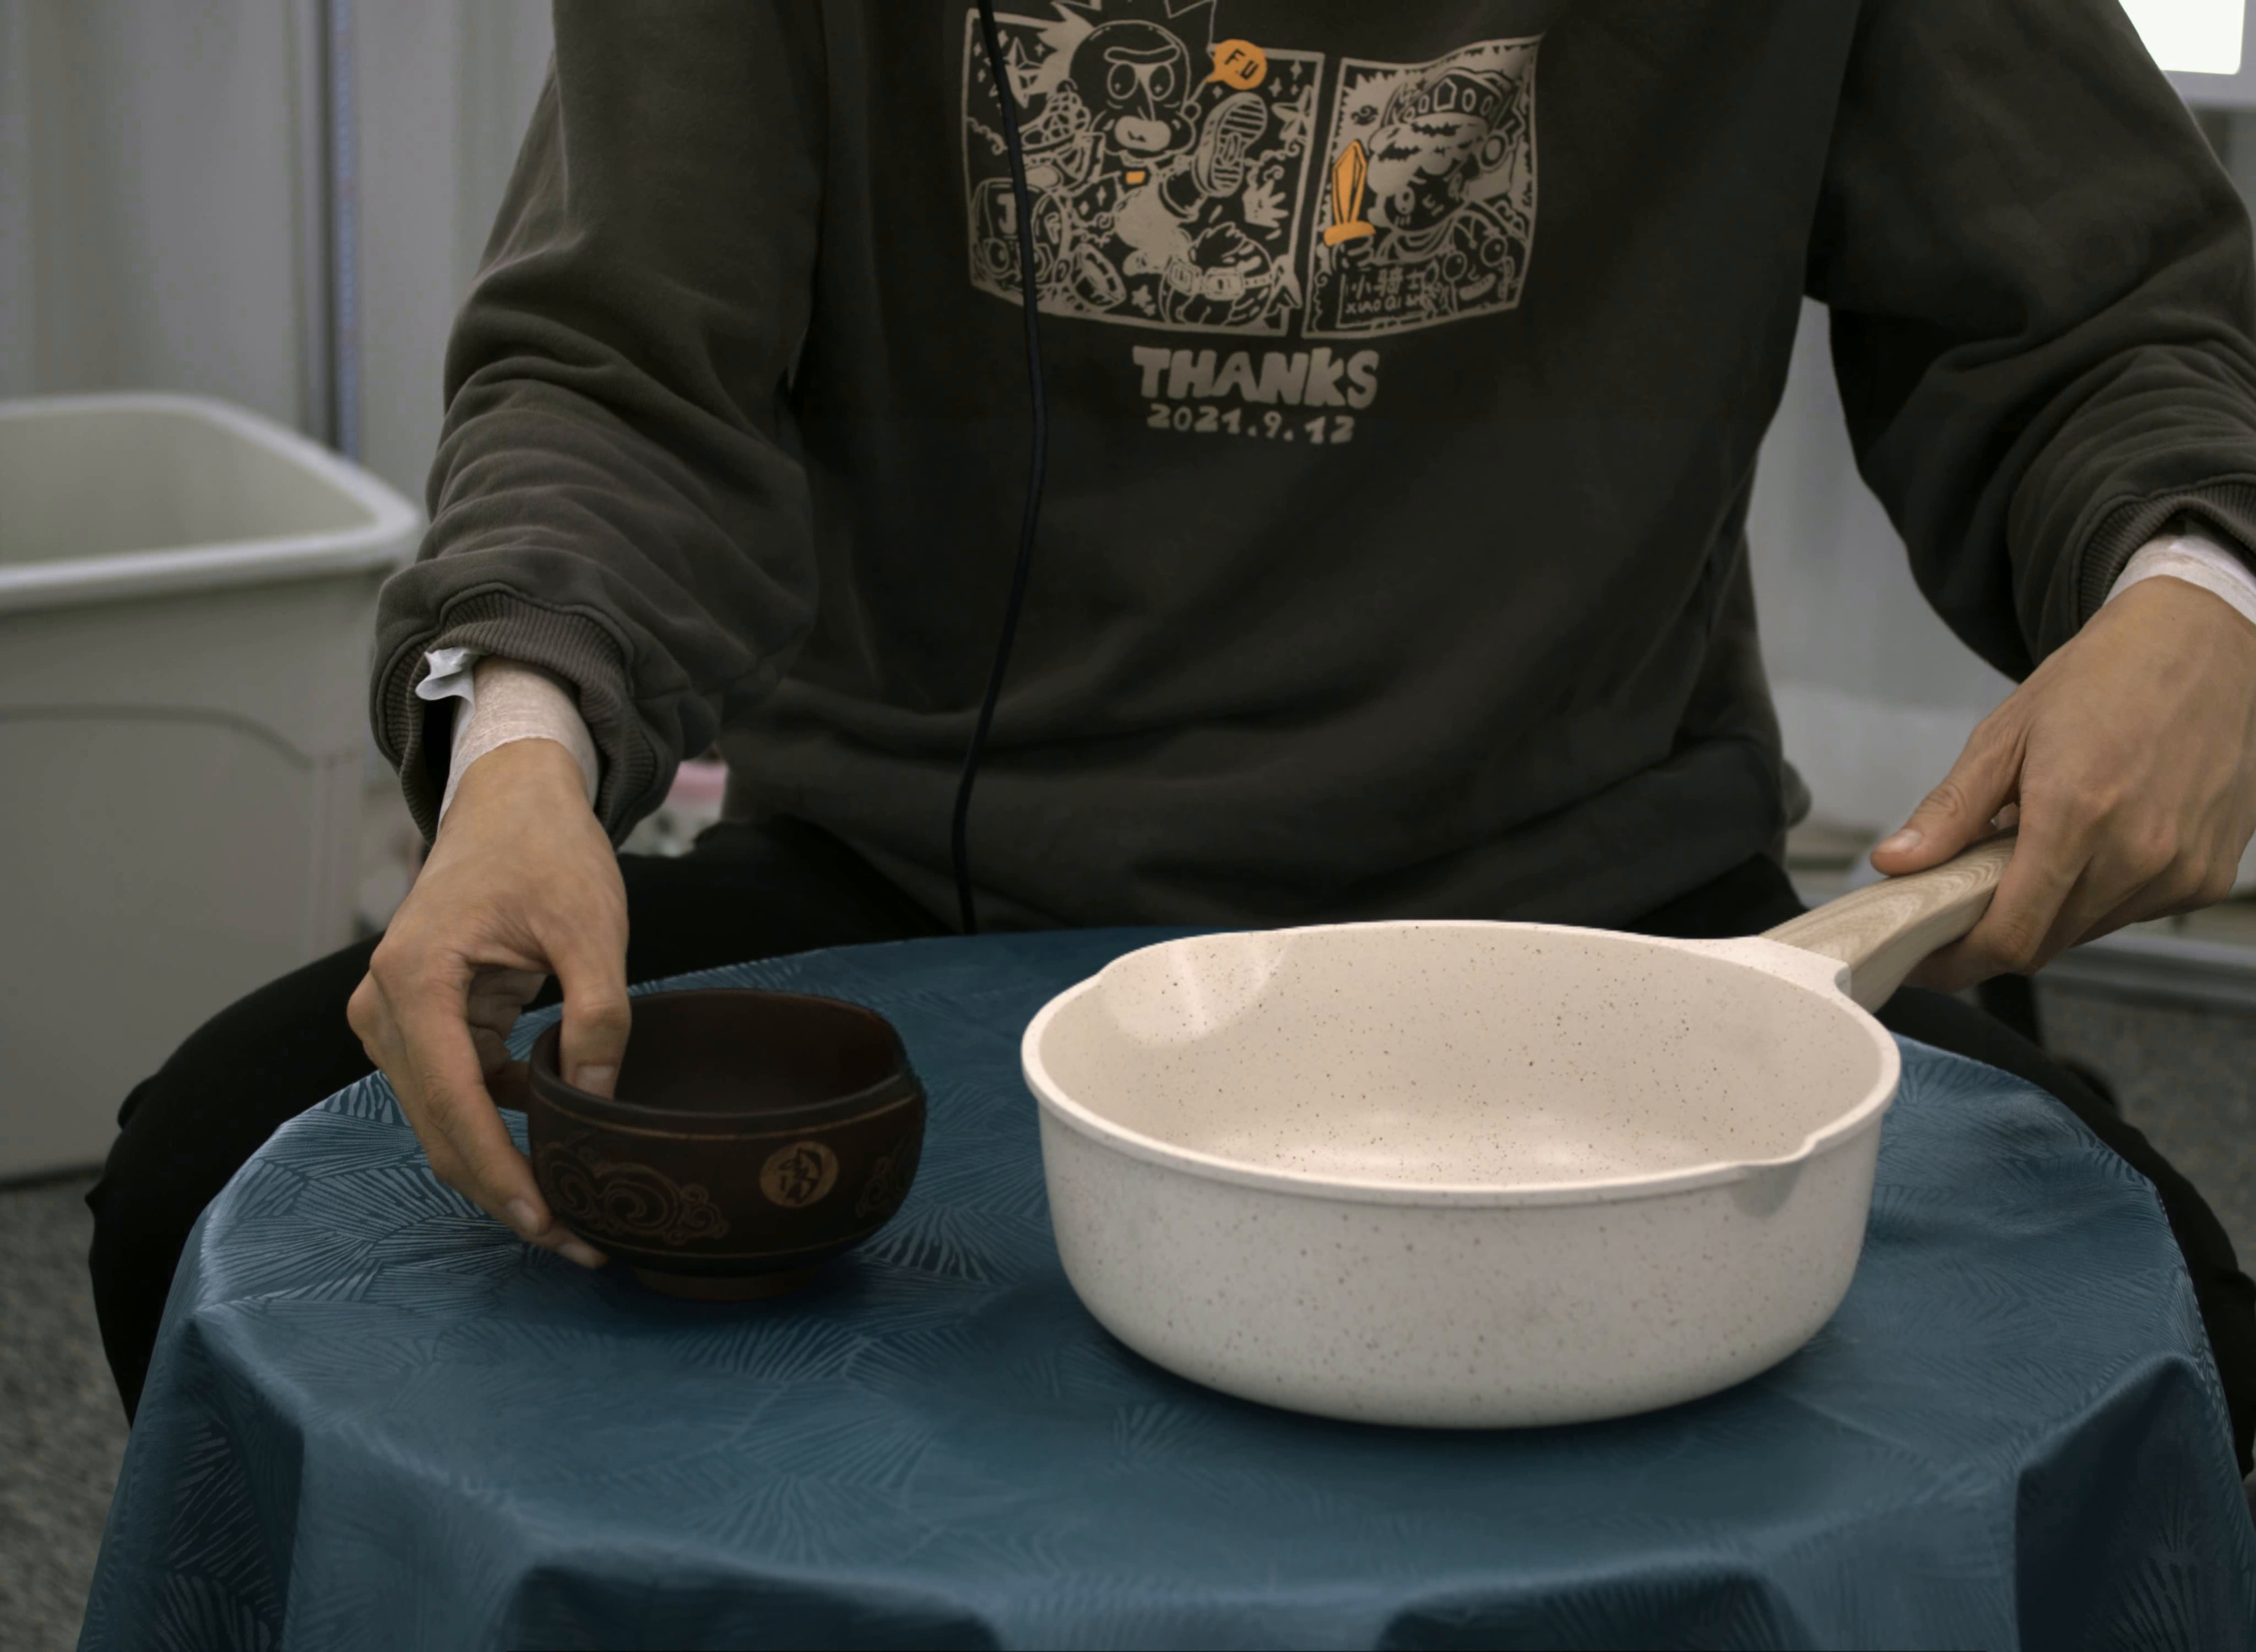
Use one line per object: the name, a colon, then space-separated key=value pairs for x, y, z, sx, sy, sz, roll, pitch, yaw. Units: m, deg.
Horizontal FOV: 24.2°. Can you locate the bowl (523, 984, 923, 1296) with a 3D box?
bowl: x=-0.119 y=0.096 z=1.548 sx=0.117 sy=0.070 sz=0.117 roll=0 pitch=16 yaw=0

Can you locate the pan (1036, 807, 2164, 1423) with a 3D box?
pan: x=0.168 y=0.079 z=1.573 sx=0.437 sy=0.103 sz=0.260 roll=-12 pitch=18 yaw=-40
